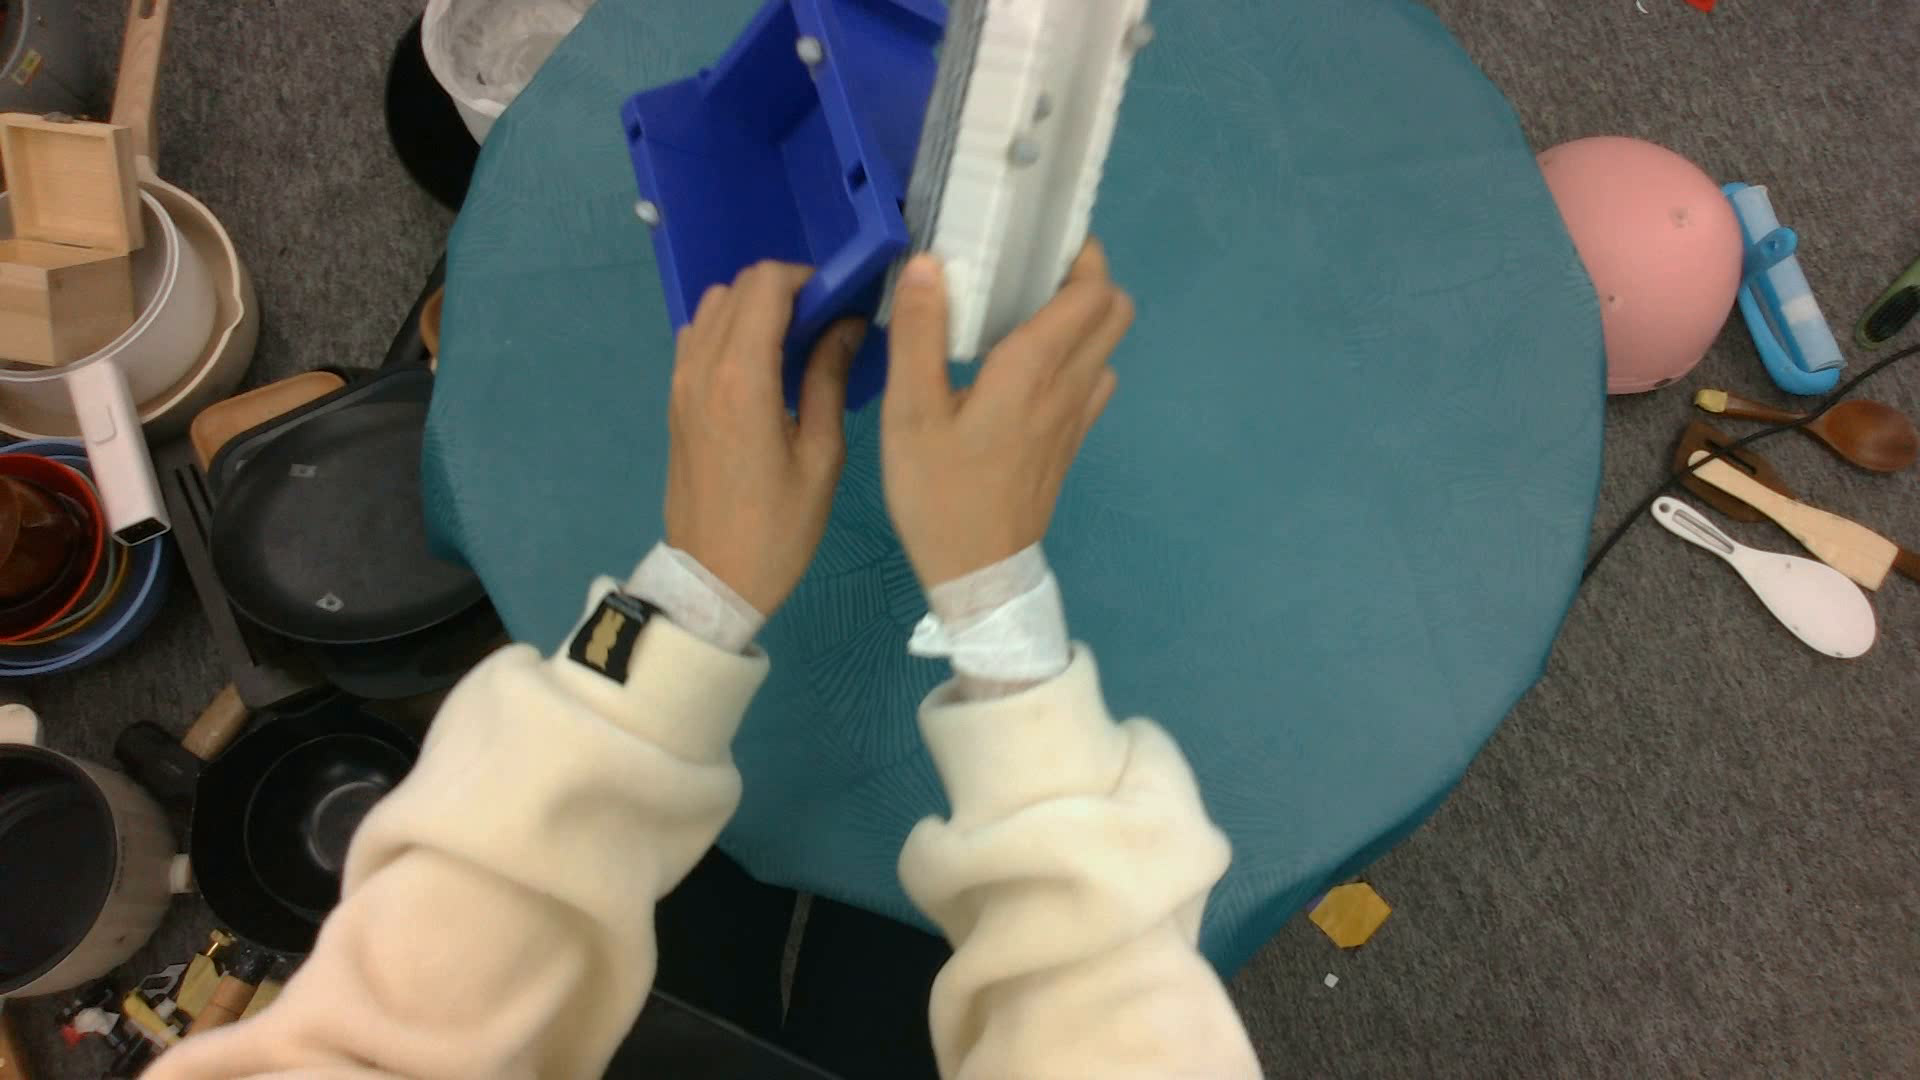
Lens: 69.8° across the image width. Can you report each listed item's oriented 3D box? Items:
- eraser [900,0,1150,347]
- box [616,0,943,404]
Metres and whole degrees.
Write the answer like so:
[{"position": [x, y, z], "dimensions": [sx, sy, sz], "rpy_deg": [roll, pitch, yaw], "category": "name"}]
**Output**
[{"position": [0.021, -0.137, 0.469], "dimensions": [0.046, 0.050, 0.134], "rpy_deg": [24, 107, 39], "category": "eraser"}, {"position": [-0.066, -0.155, 0.557], "dimensions": [0.082, 0.124, 0.180], "rpy_deg": [5, 61, -46], "category": "box"}]
